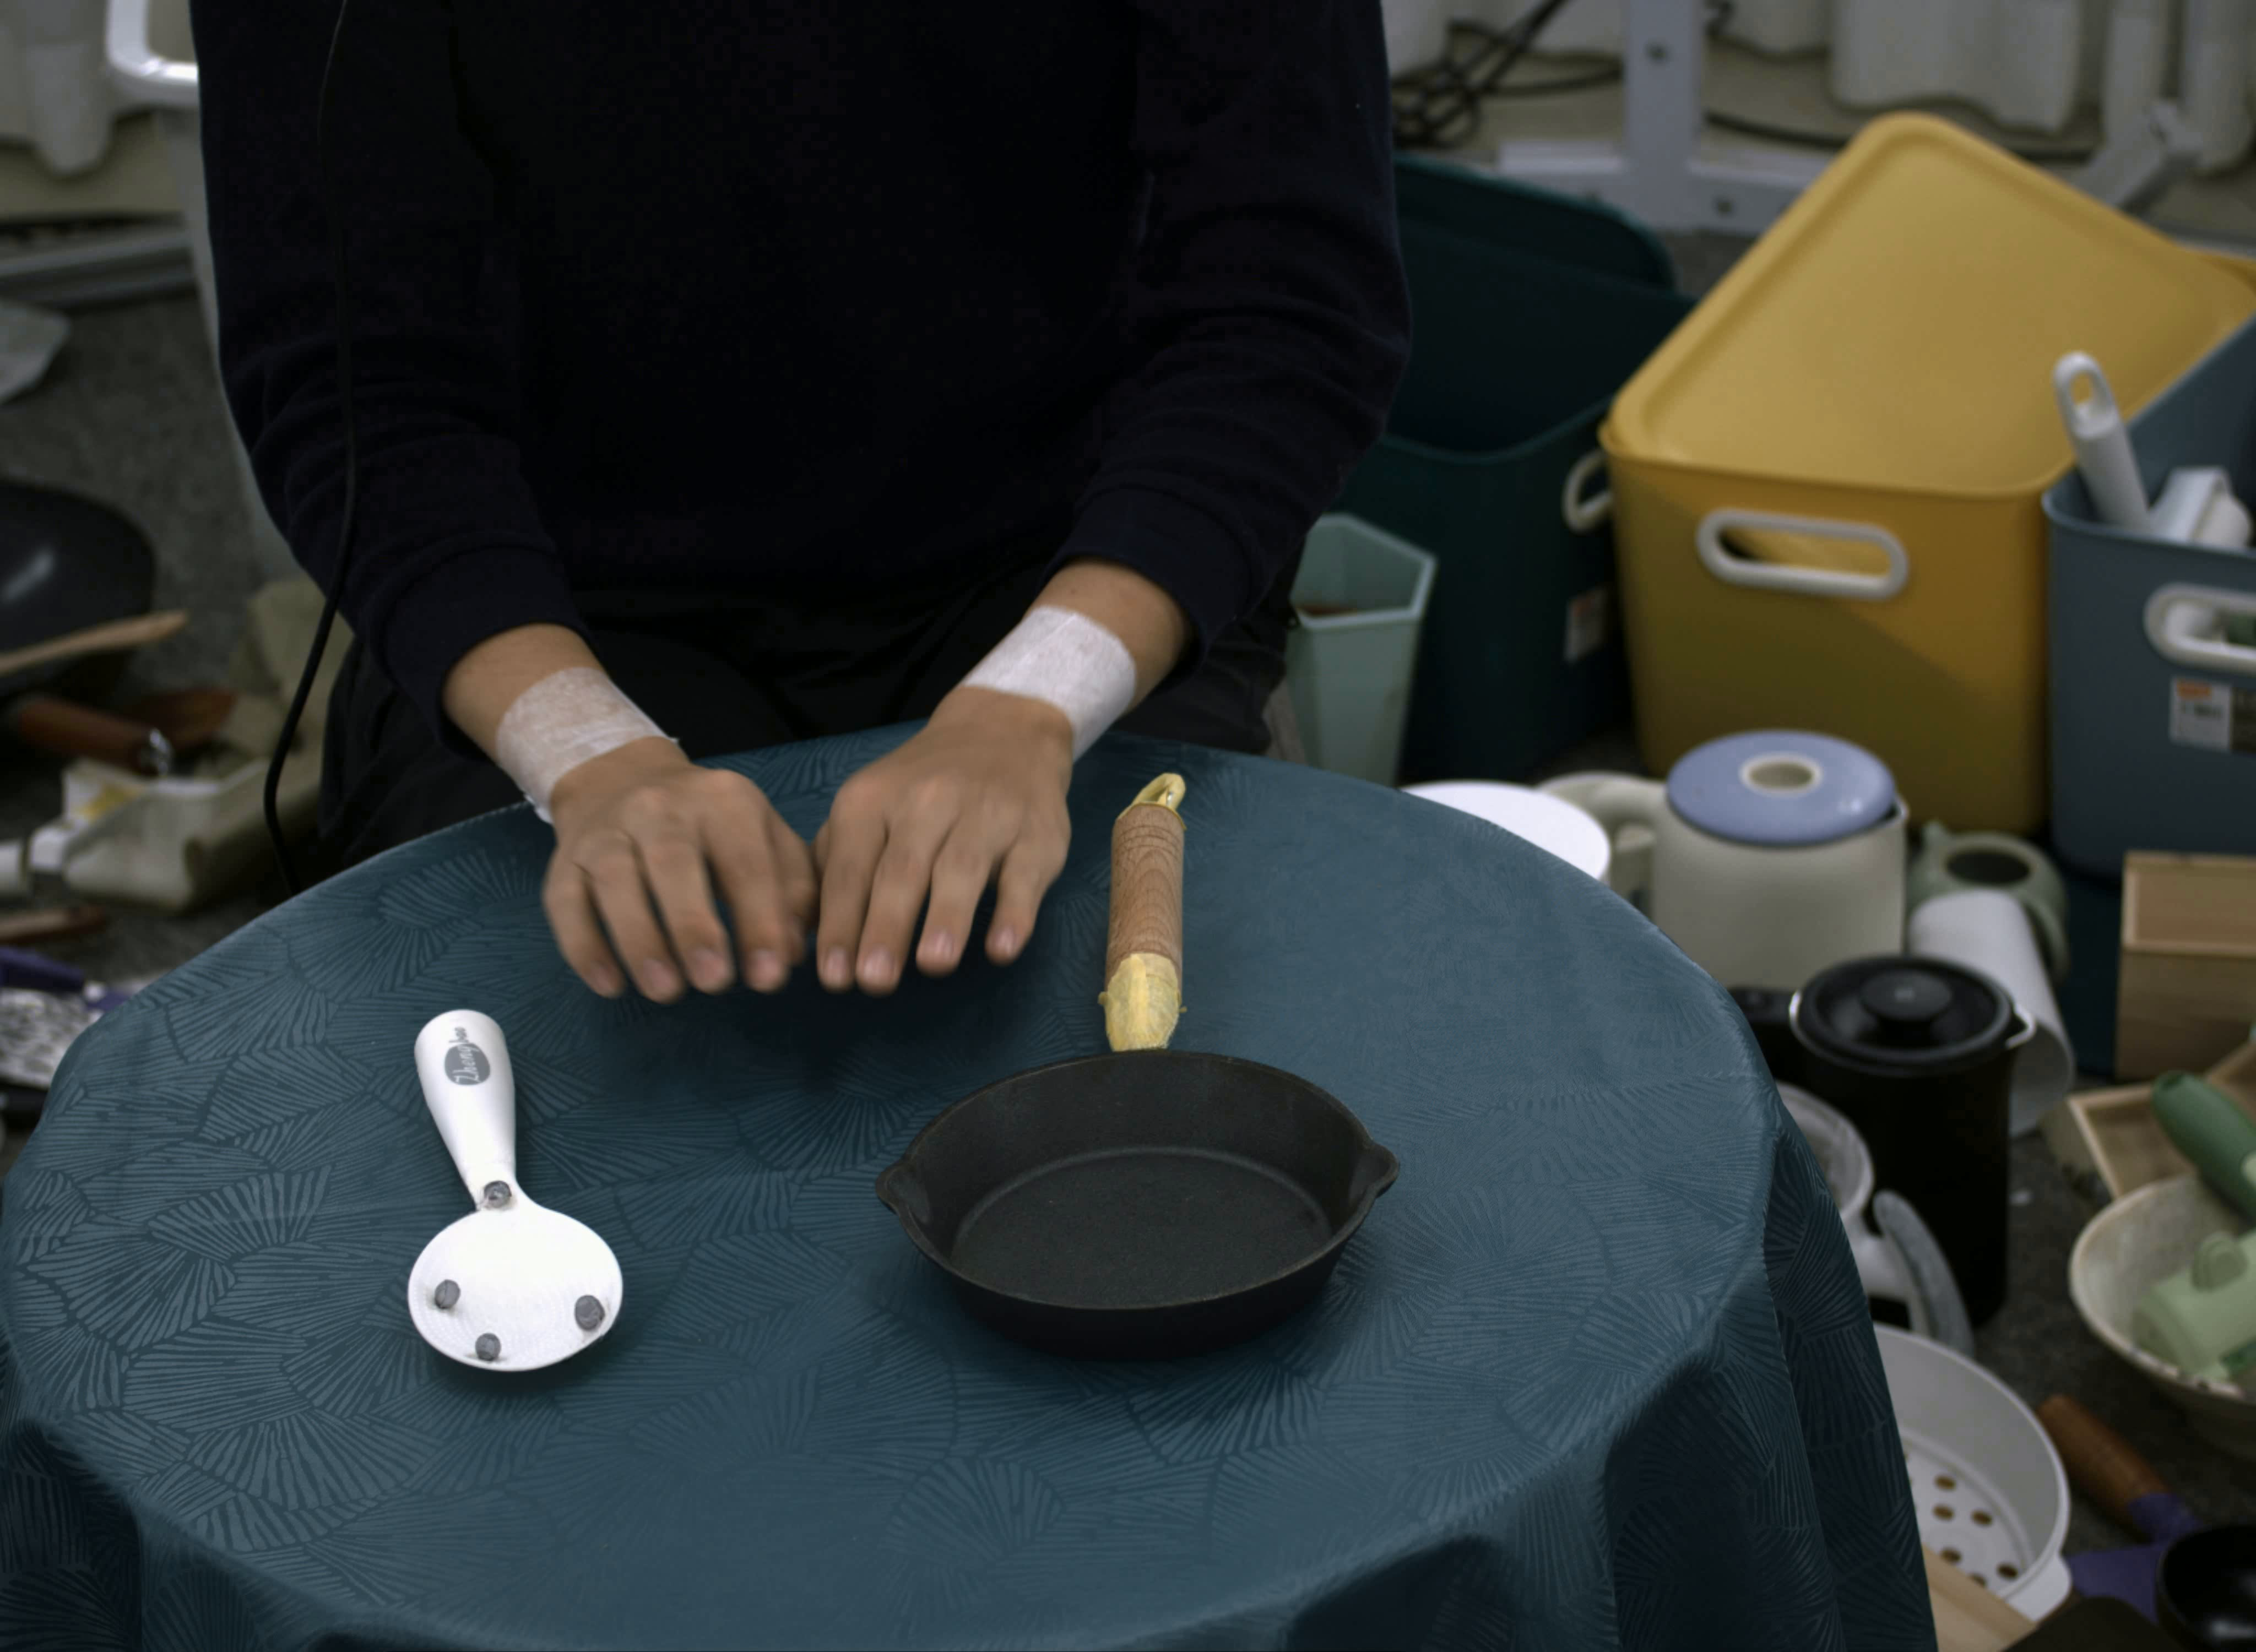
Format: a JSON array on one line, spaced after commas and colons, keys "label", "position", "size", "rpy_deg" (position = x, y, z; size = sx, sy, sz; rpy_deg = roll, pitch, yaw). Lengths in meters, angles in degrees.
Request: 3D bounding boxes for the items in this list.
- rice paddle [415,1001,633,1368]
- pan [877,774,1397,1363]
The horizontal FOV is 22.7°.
[{"label": "rice paddle", "position": [-0.208, 0.121, 1.860], "size": [0.069, 0.029, 0.207], "rpy_deg": [-10, 29, -10]}, {"label": "pan", "position": [0.007, 0.079, 1.890], "size": [0.168, 0.049, 0.329], "rpy_deg": [-1, 29, 4]}]
